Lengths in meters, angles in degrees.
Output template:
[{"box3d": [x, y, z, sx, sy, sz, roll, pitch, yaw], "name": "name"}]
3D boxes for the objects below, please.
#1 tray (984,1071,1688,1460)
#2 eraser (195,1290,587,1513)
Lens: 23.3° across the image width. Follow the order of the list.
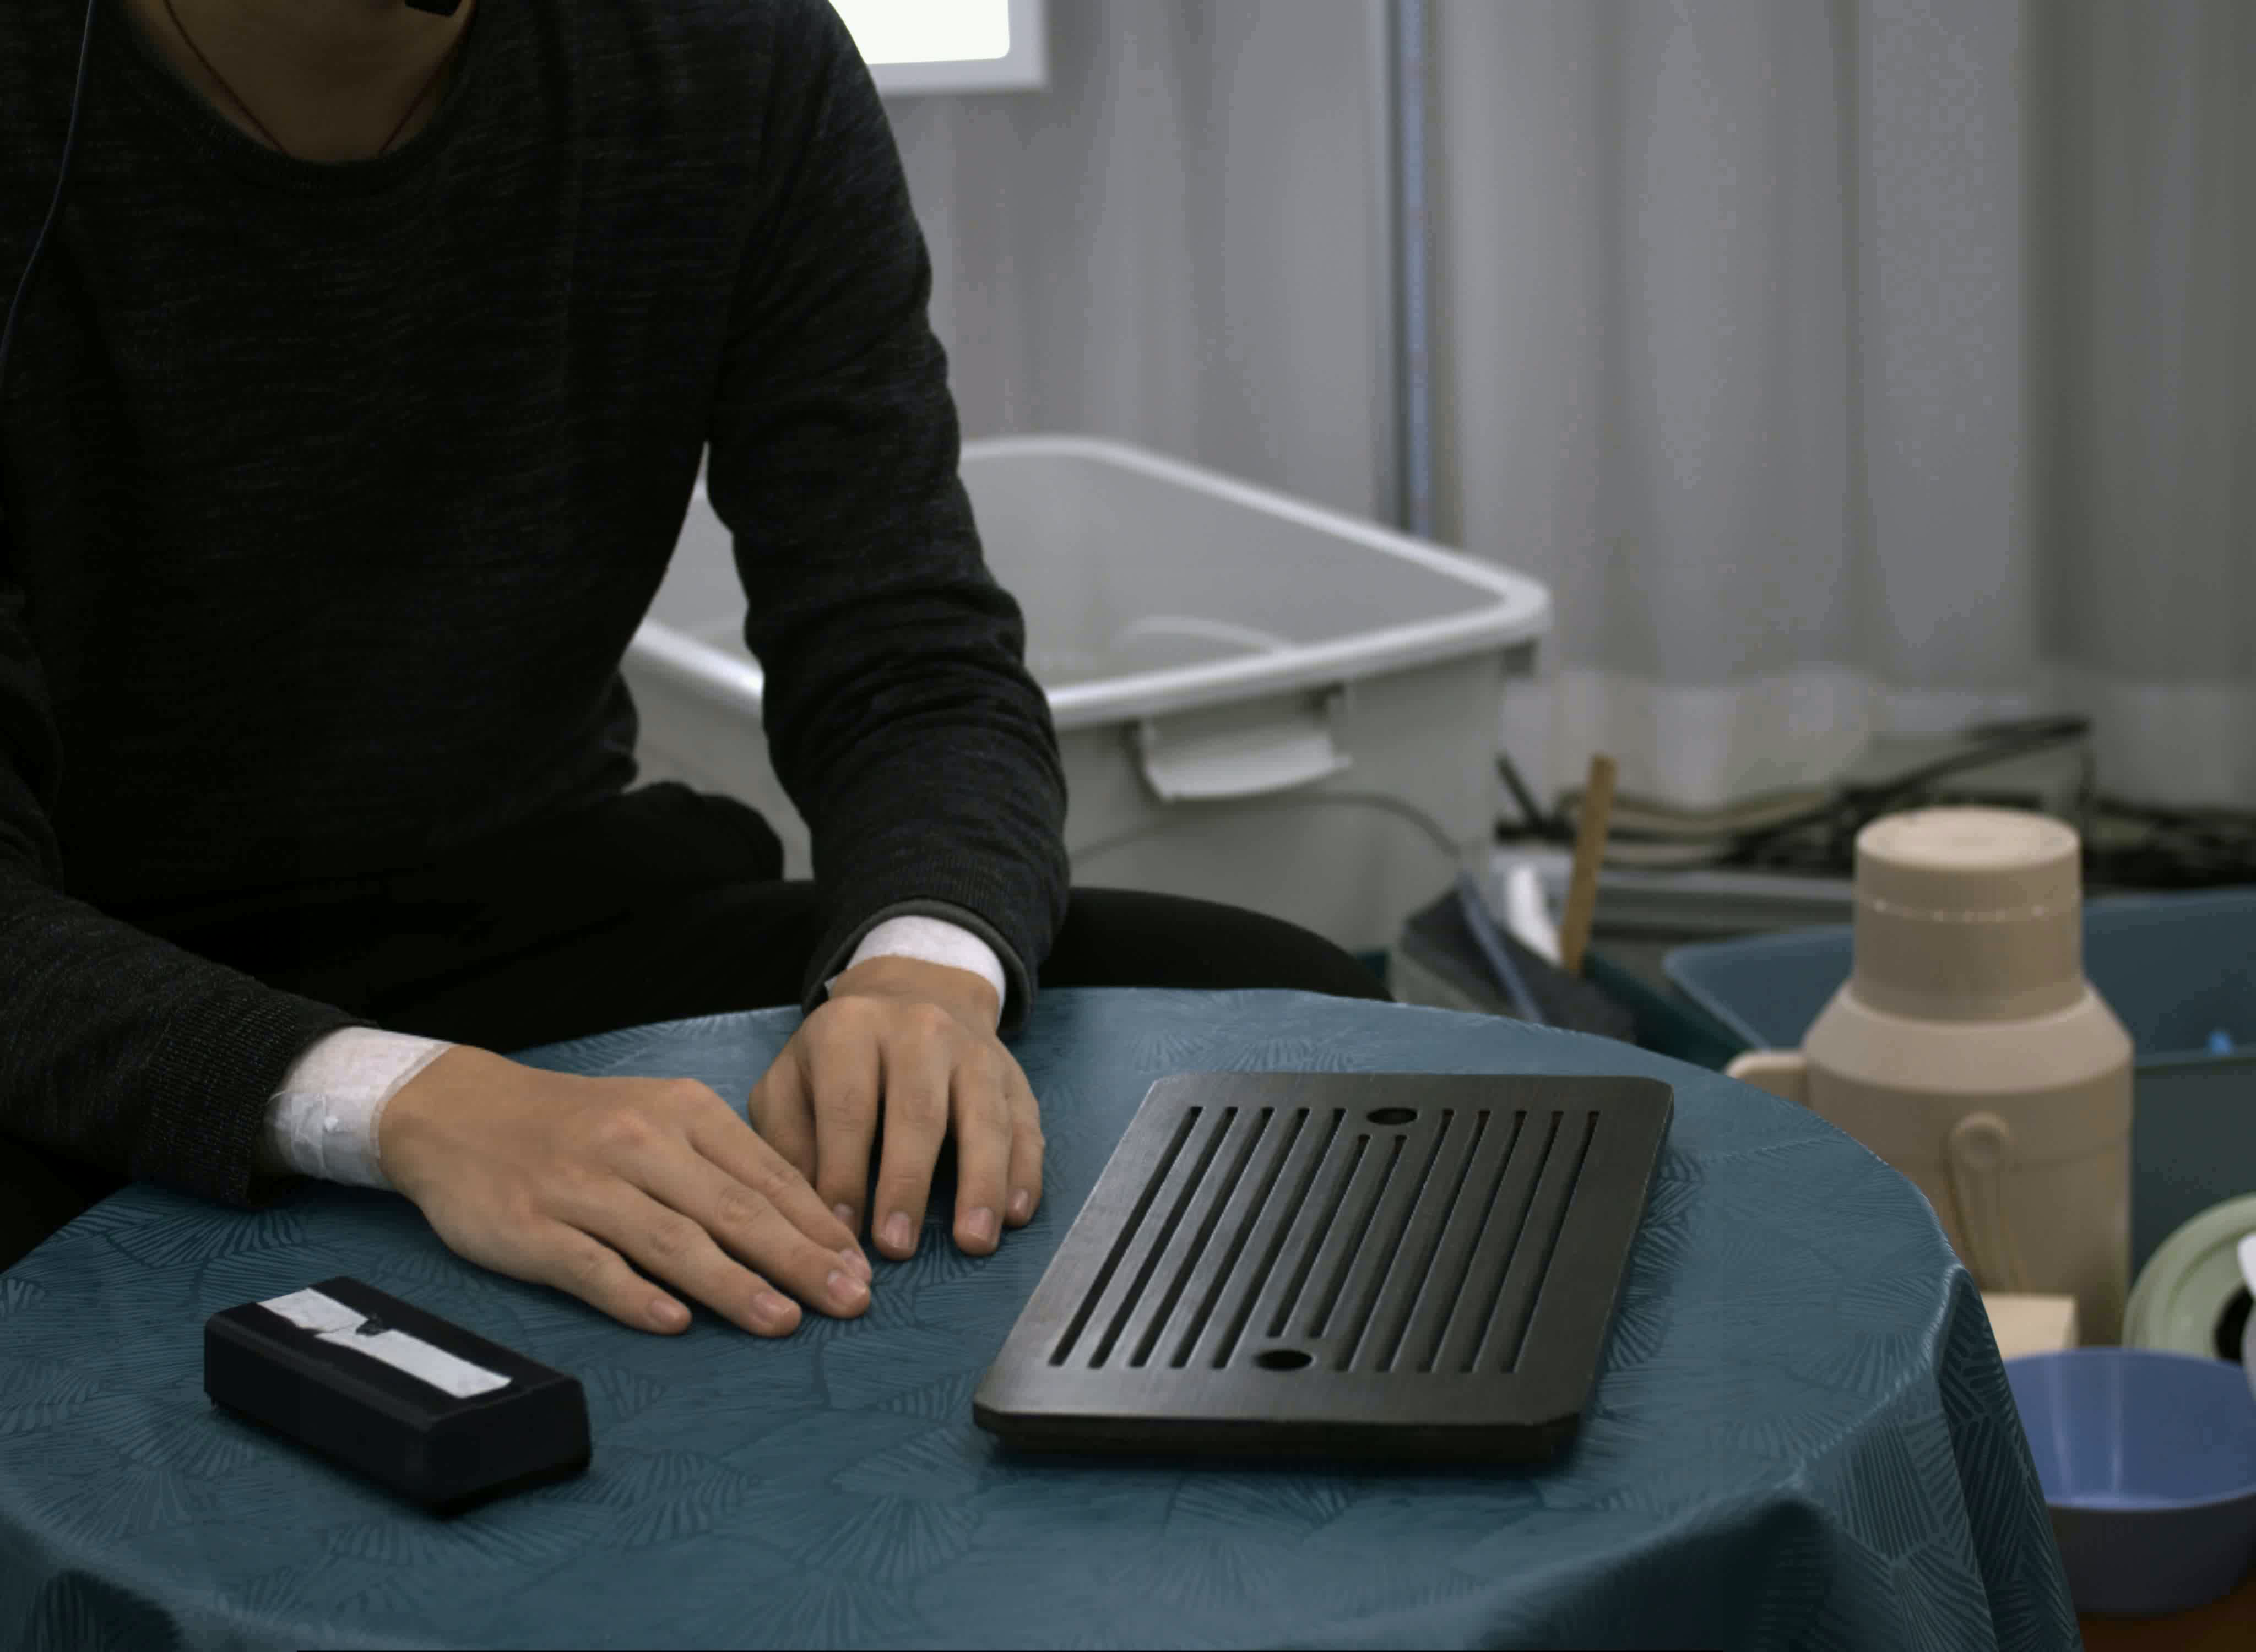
[{"box3d": [0.069, 0.127, 1.618, 0.170, 0.018, 0.307, 0, 15, 11], "name": "tray"}, {"box3d": [-0.206, 0.160, 1.530, 0.053, 0.030, 0.126, -11, 16, -38], "name": "eraser"}]
